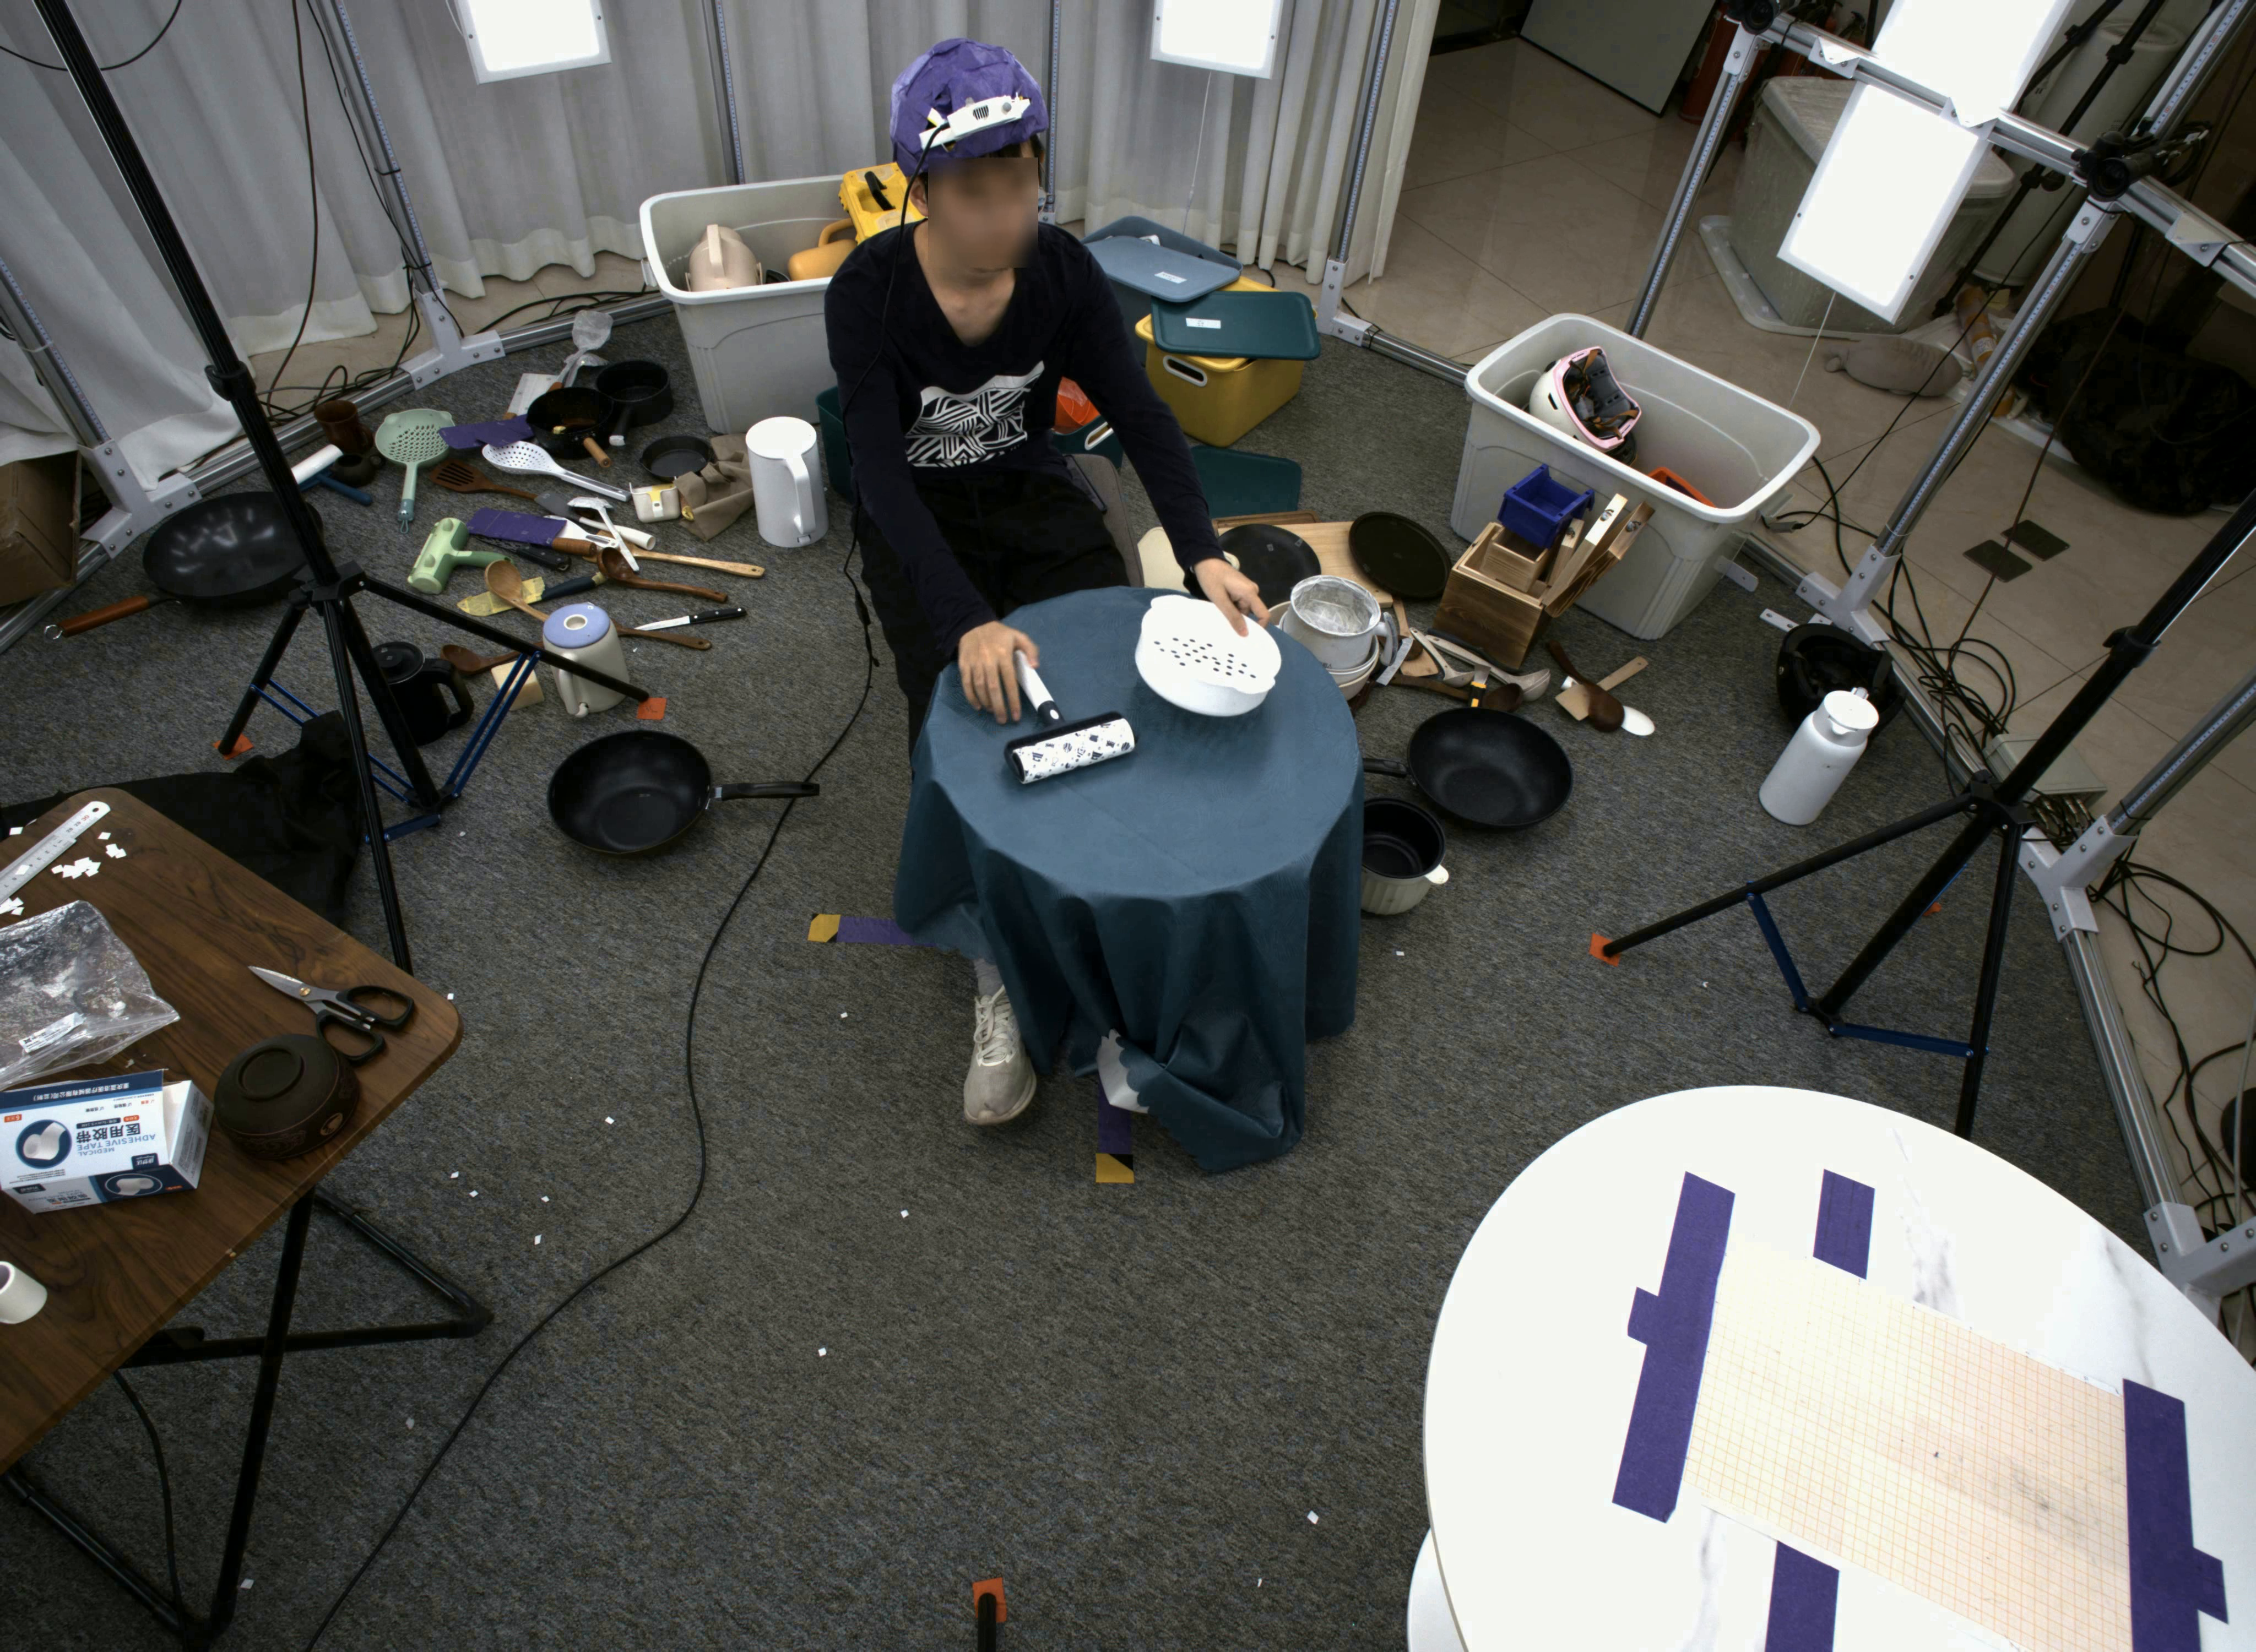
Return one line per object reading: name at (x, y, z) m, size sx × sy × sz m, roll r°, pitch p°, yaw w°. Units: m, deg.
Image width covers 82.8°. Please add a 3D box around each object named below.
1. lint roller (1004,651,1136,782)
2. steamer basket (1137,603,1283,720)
lint roller at (-0.118, -0.171, 1.782) m, size 0.176 × 0.049 × 0.253 m, roll -19°, pitch 50°, yaw -18°
steamer basket at (0.111, -0.228, 1.793) m, size 0.202 × 0.068 × 0.235 m, roll -15°, pitch 47°, yaw -34°
